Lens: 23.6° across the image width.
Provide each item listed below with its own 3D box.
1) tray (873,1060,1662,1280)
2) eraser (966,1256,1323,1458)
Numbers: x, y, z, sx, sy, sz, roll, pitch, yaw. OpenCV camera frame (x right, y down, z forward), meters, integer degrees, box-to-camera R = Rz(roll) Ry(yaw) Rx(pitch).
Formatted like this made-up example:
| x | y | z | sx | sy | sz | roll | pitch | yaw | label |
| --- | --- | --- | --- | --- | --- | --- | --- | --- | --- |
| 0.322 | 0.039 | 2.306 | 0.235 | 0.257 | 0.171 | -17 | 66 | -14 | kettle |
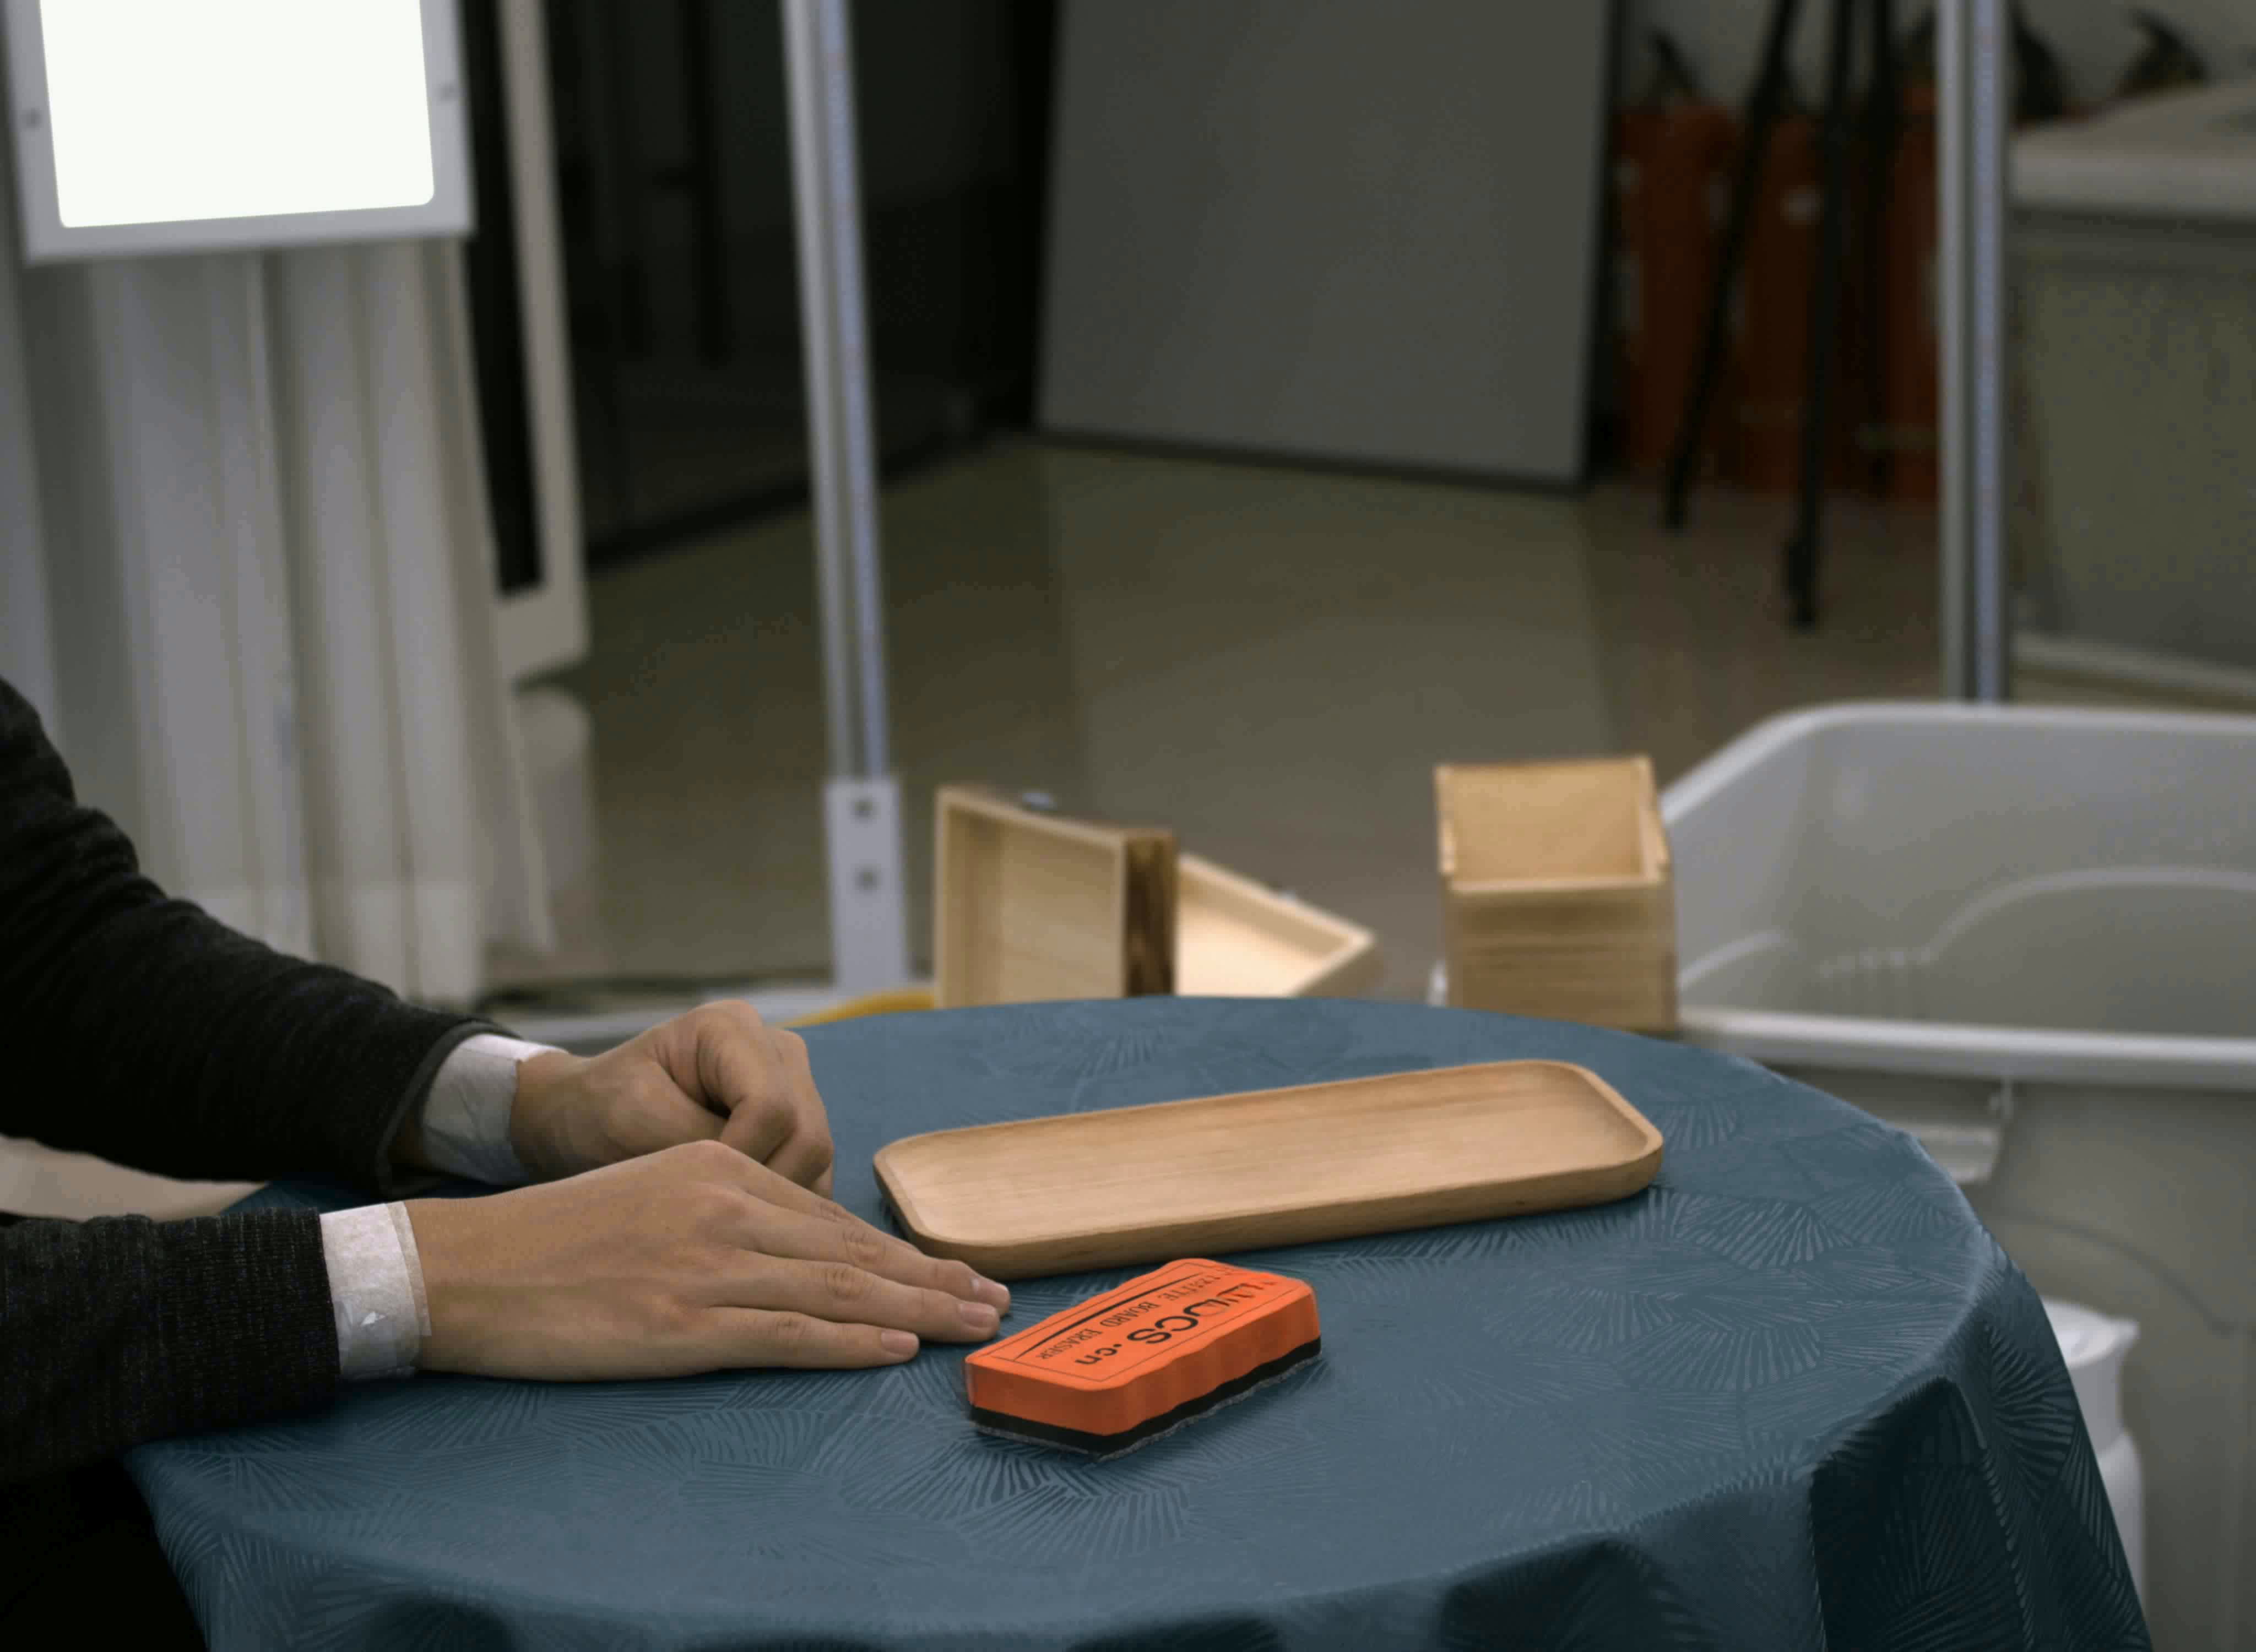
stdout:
| x | y | z | sx | sy | sz | roll | pitch | yaw | label |
| --- | --- | --- | --- | --- | --- | --- | --- | --- | --- |
| 0.045 | 0.112 | 1.758 | 0.246 | 0.023 | 0.131 | -7 | 12 | -9 | tray |
| 0.006 | 0.155 | 1.580 | 0.059 | 0.023 | 0.106 | 9 | 19 | 41 | eraser |
